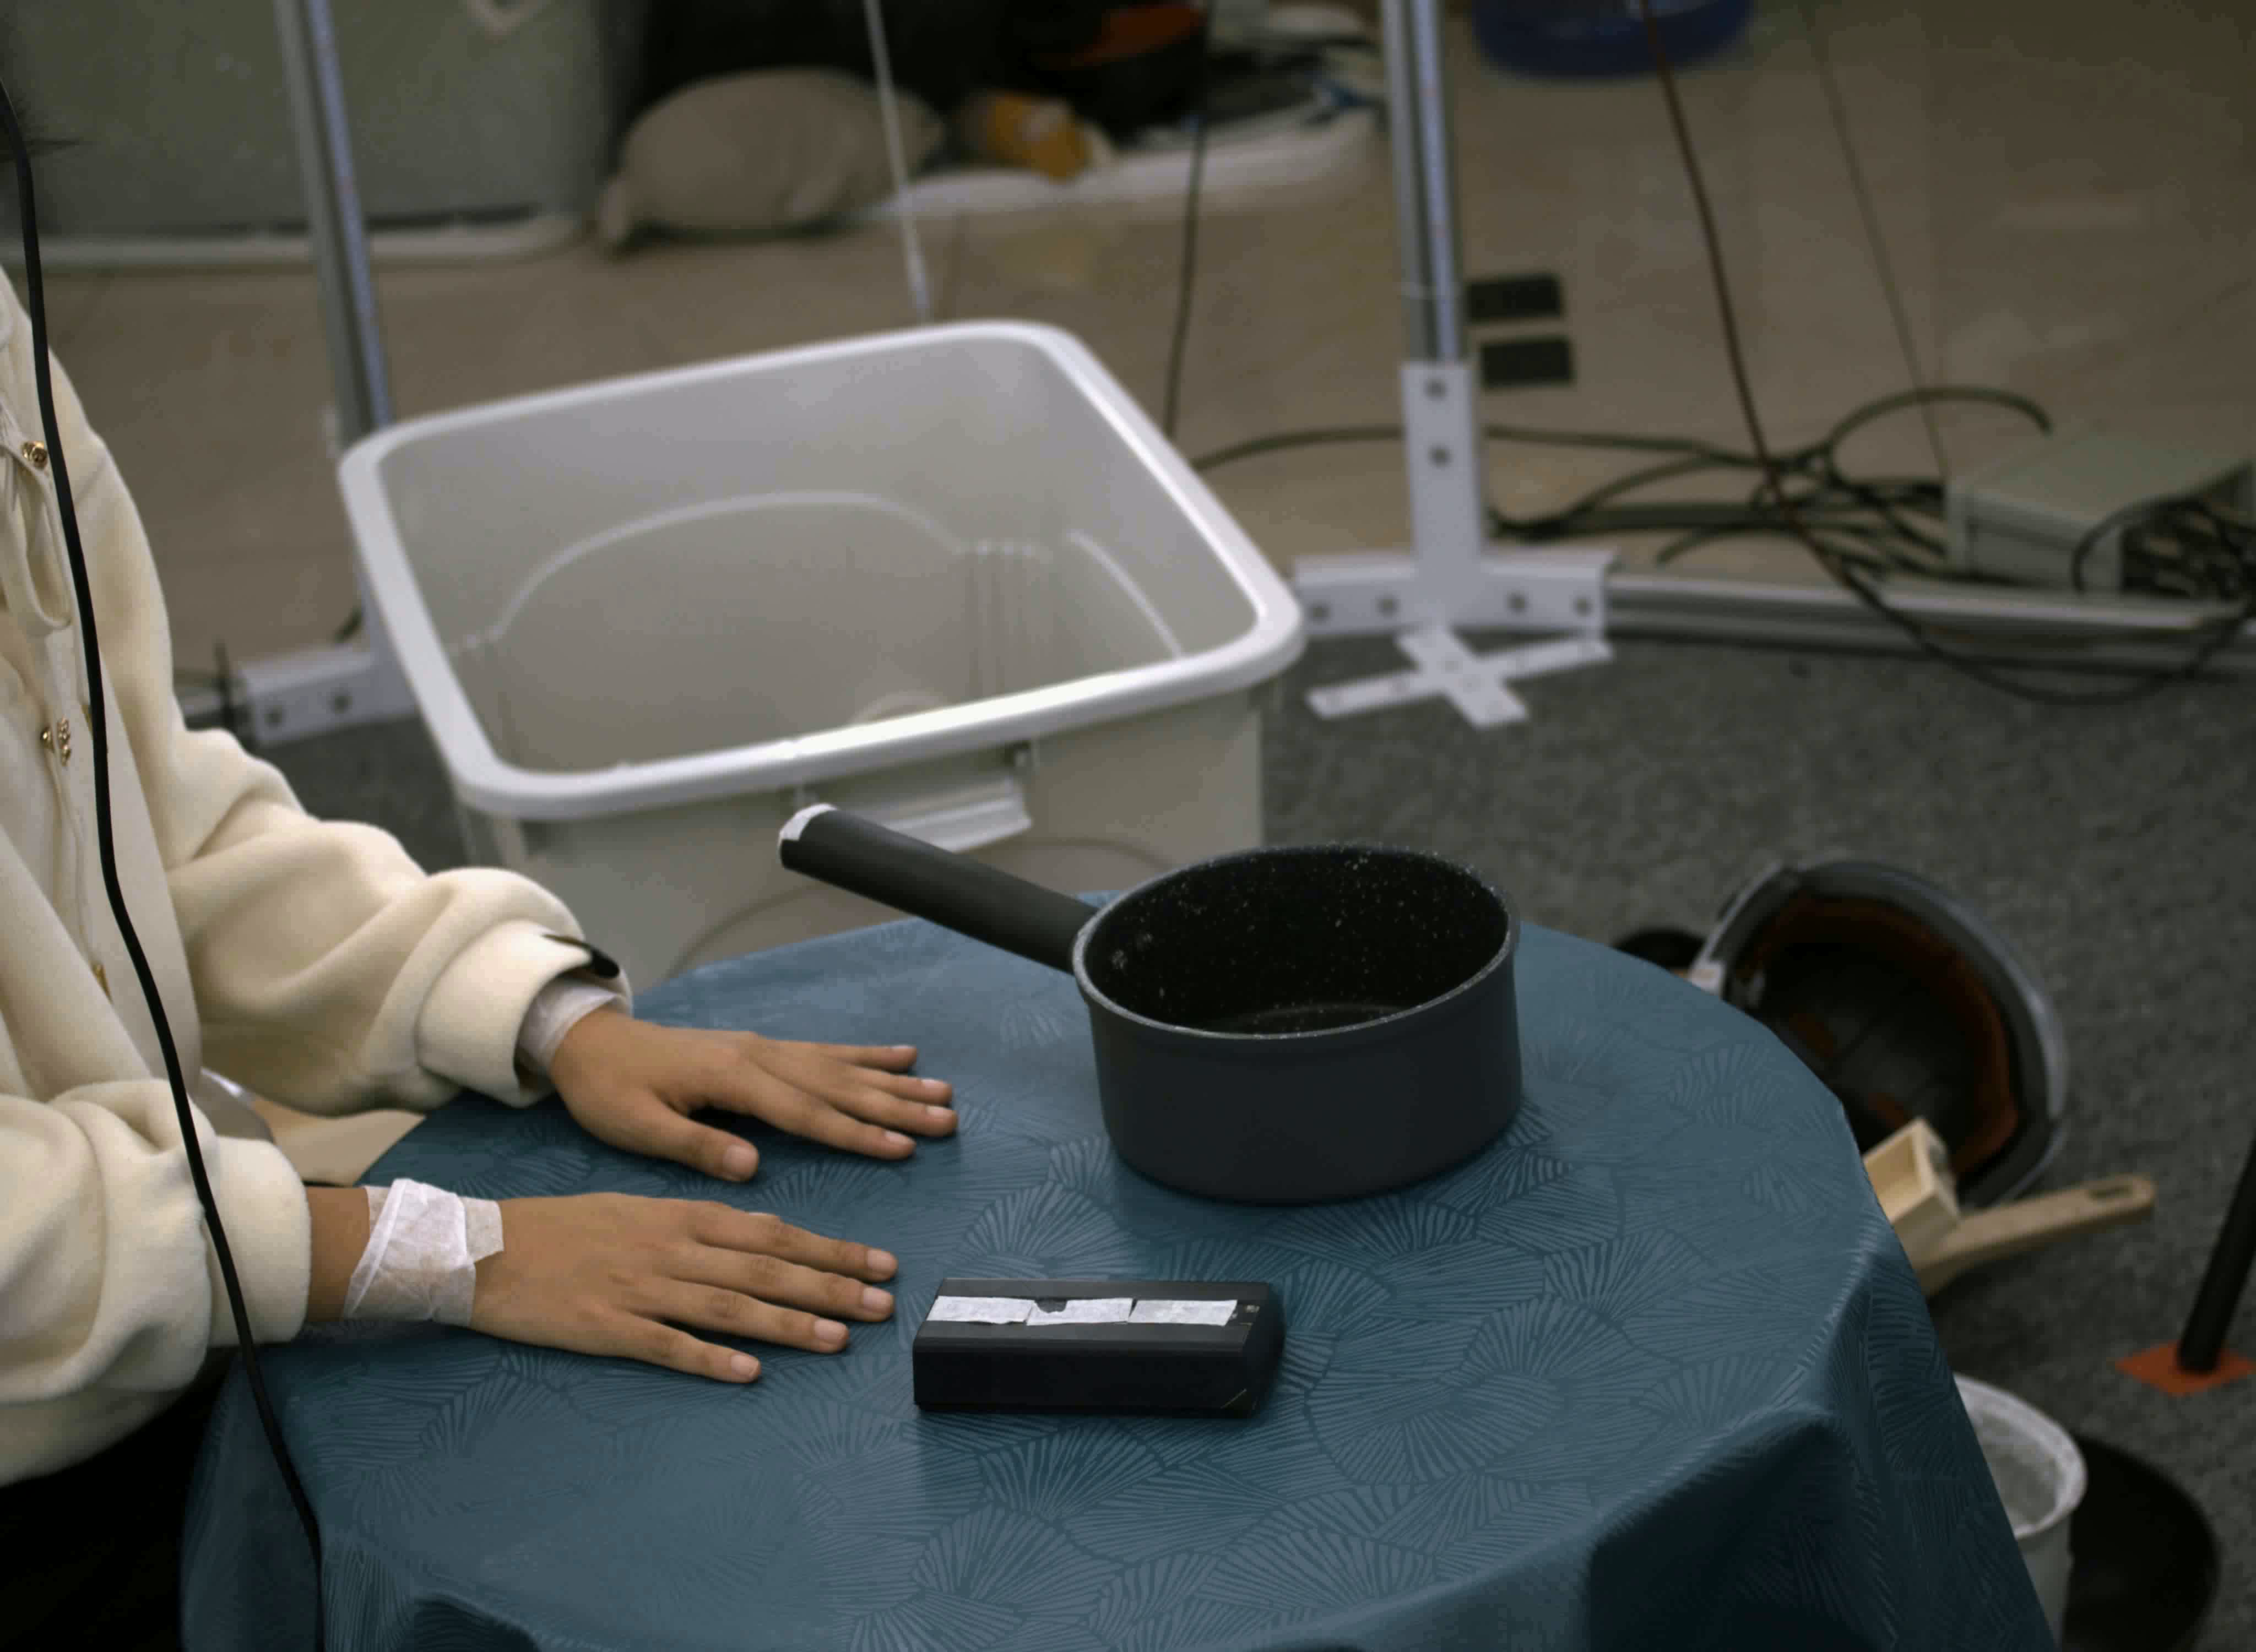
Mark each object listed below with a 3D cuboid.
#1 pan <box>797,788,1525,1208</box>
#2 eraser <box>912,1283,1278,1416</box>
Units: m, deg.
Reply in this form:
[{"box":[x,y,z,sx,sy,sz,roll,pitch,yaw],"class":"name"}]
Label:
[{"box":[0.005,0.059,2.219,0.326,0.088,0.170,14,32,35],"class":"pan"},{"box":[-0.010,0.186,2.019,0.125,0.031,0.053,-1,25,15],"class":"eraser"}]
